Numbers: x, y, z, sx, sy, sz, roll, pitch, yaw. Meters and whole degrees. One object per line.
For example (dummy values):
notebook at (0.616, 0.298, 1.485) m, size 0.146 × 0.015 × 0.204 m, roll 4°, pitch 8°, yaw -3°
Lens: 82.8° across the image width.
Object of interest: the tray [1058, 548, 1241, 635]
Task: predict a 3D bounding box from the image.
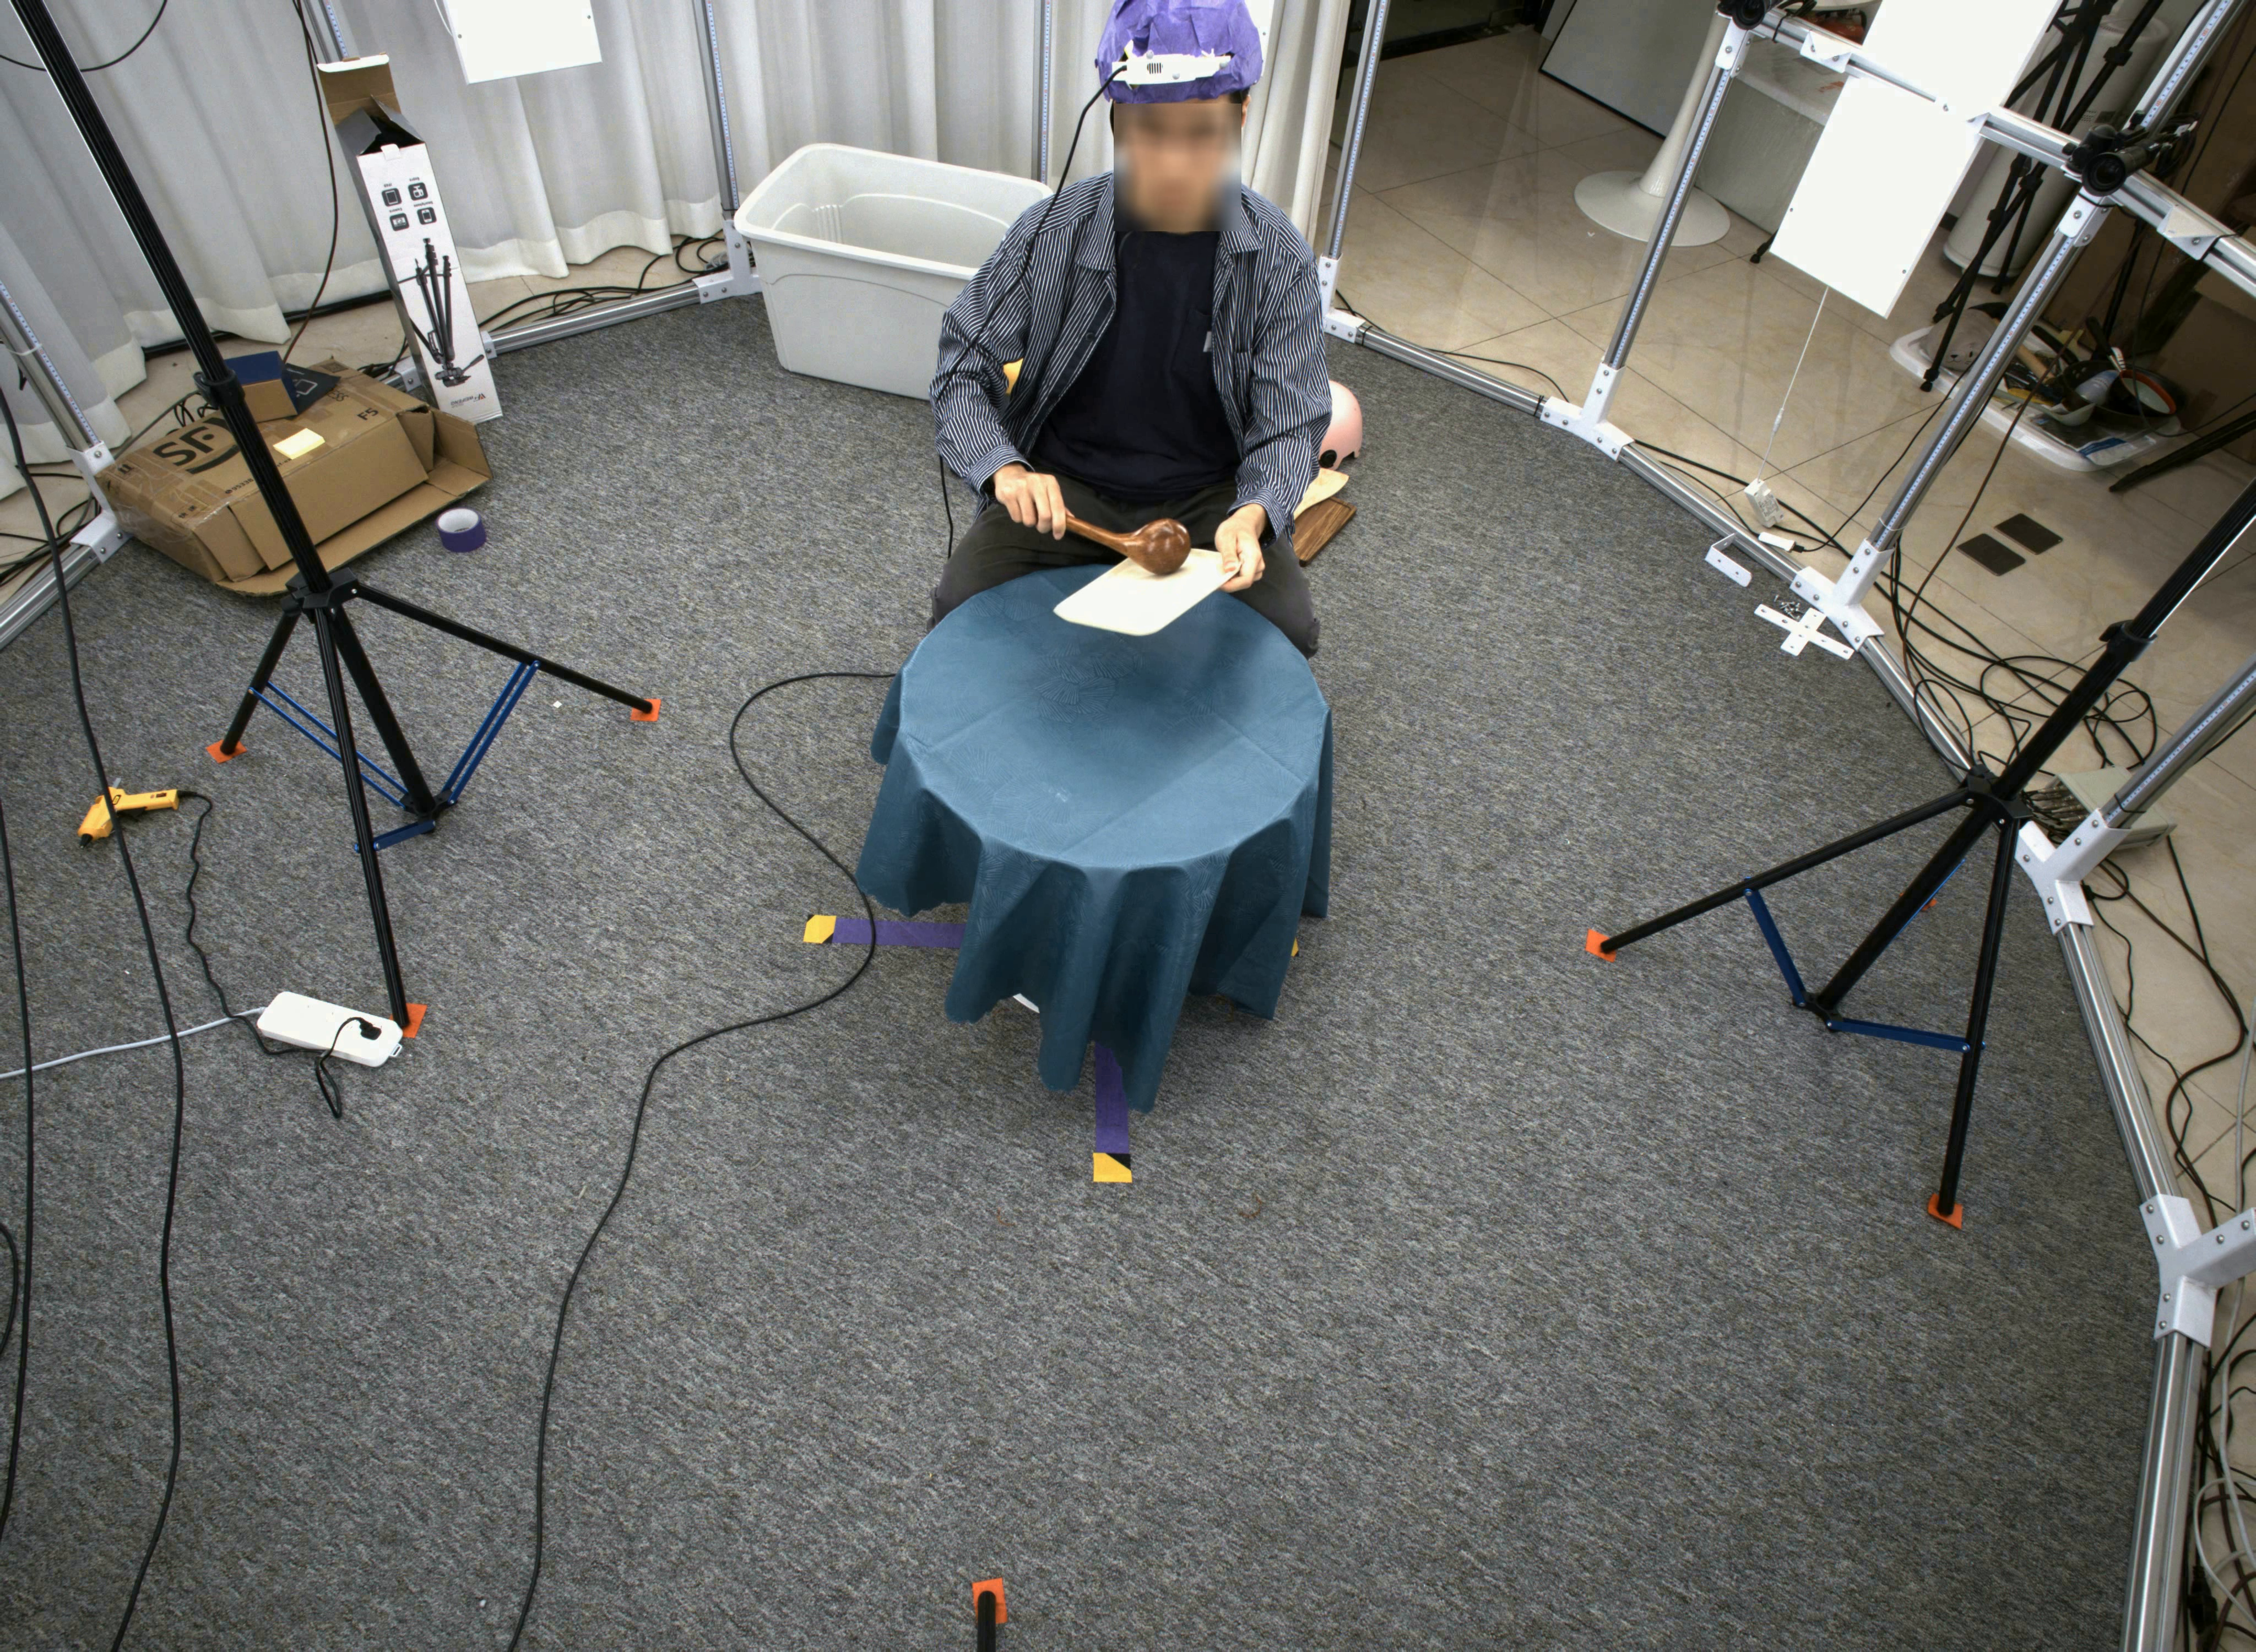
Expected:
tray at (0.032, -0.323, 1.748) m, size 0.173 × 0.017 × 0.242 m, roll 17°, pitch 41°, yaw 34°

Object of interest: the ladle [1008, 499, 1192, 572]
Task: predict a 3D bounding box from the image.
ladle at (-0.038, -0.427, 1.820) m, size 0.277 × 0.080 × 0.077 m, roll 24°, pitch 34°, yaw 26°
